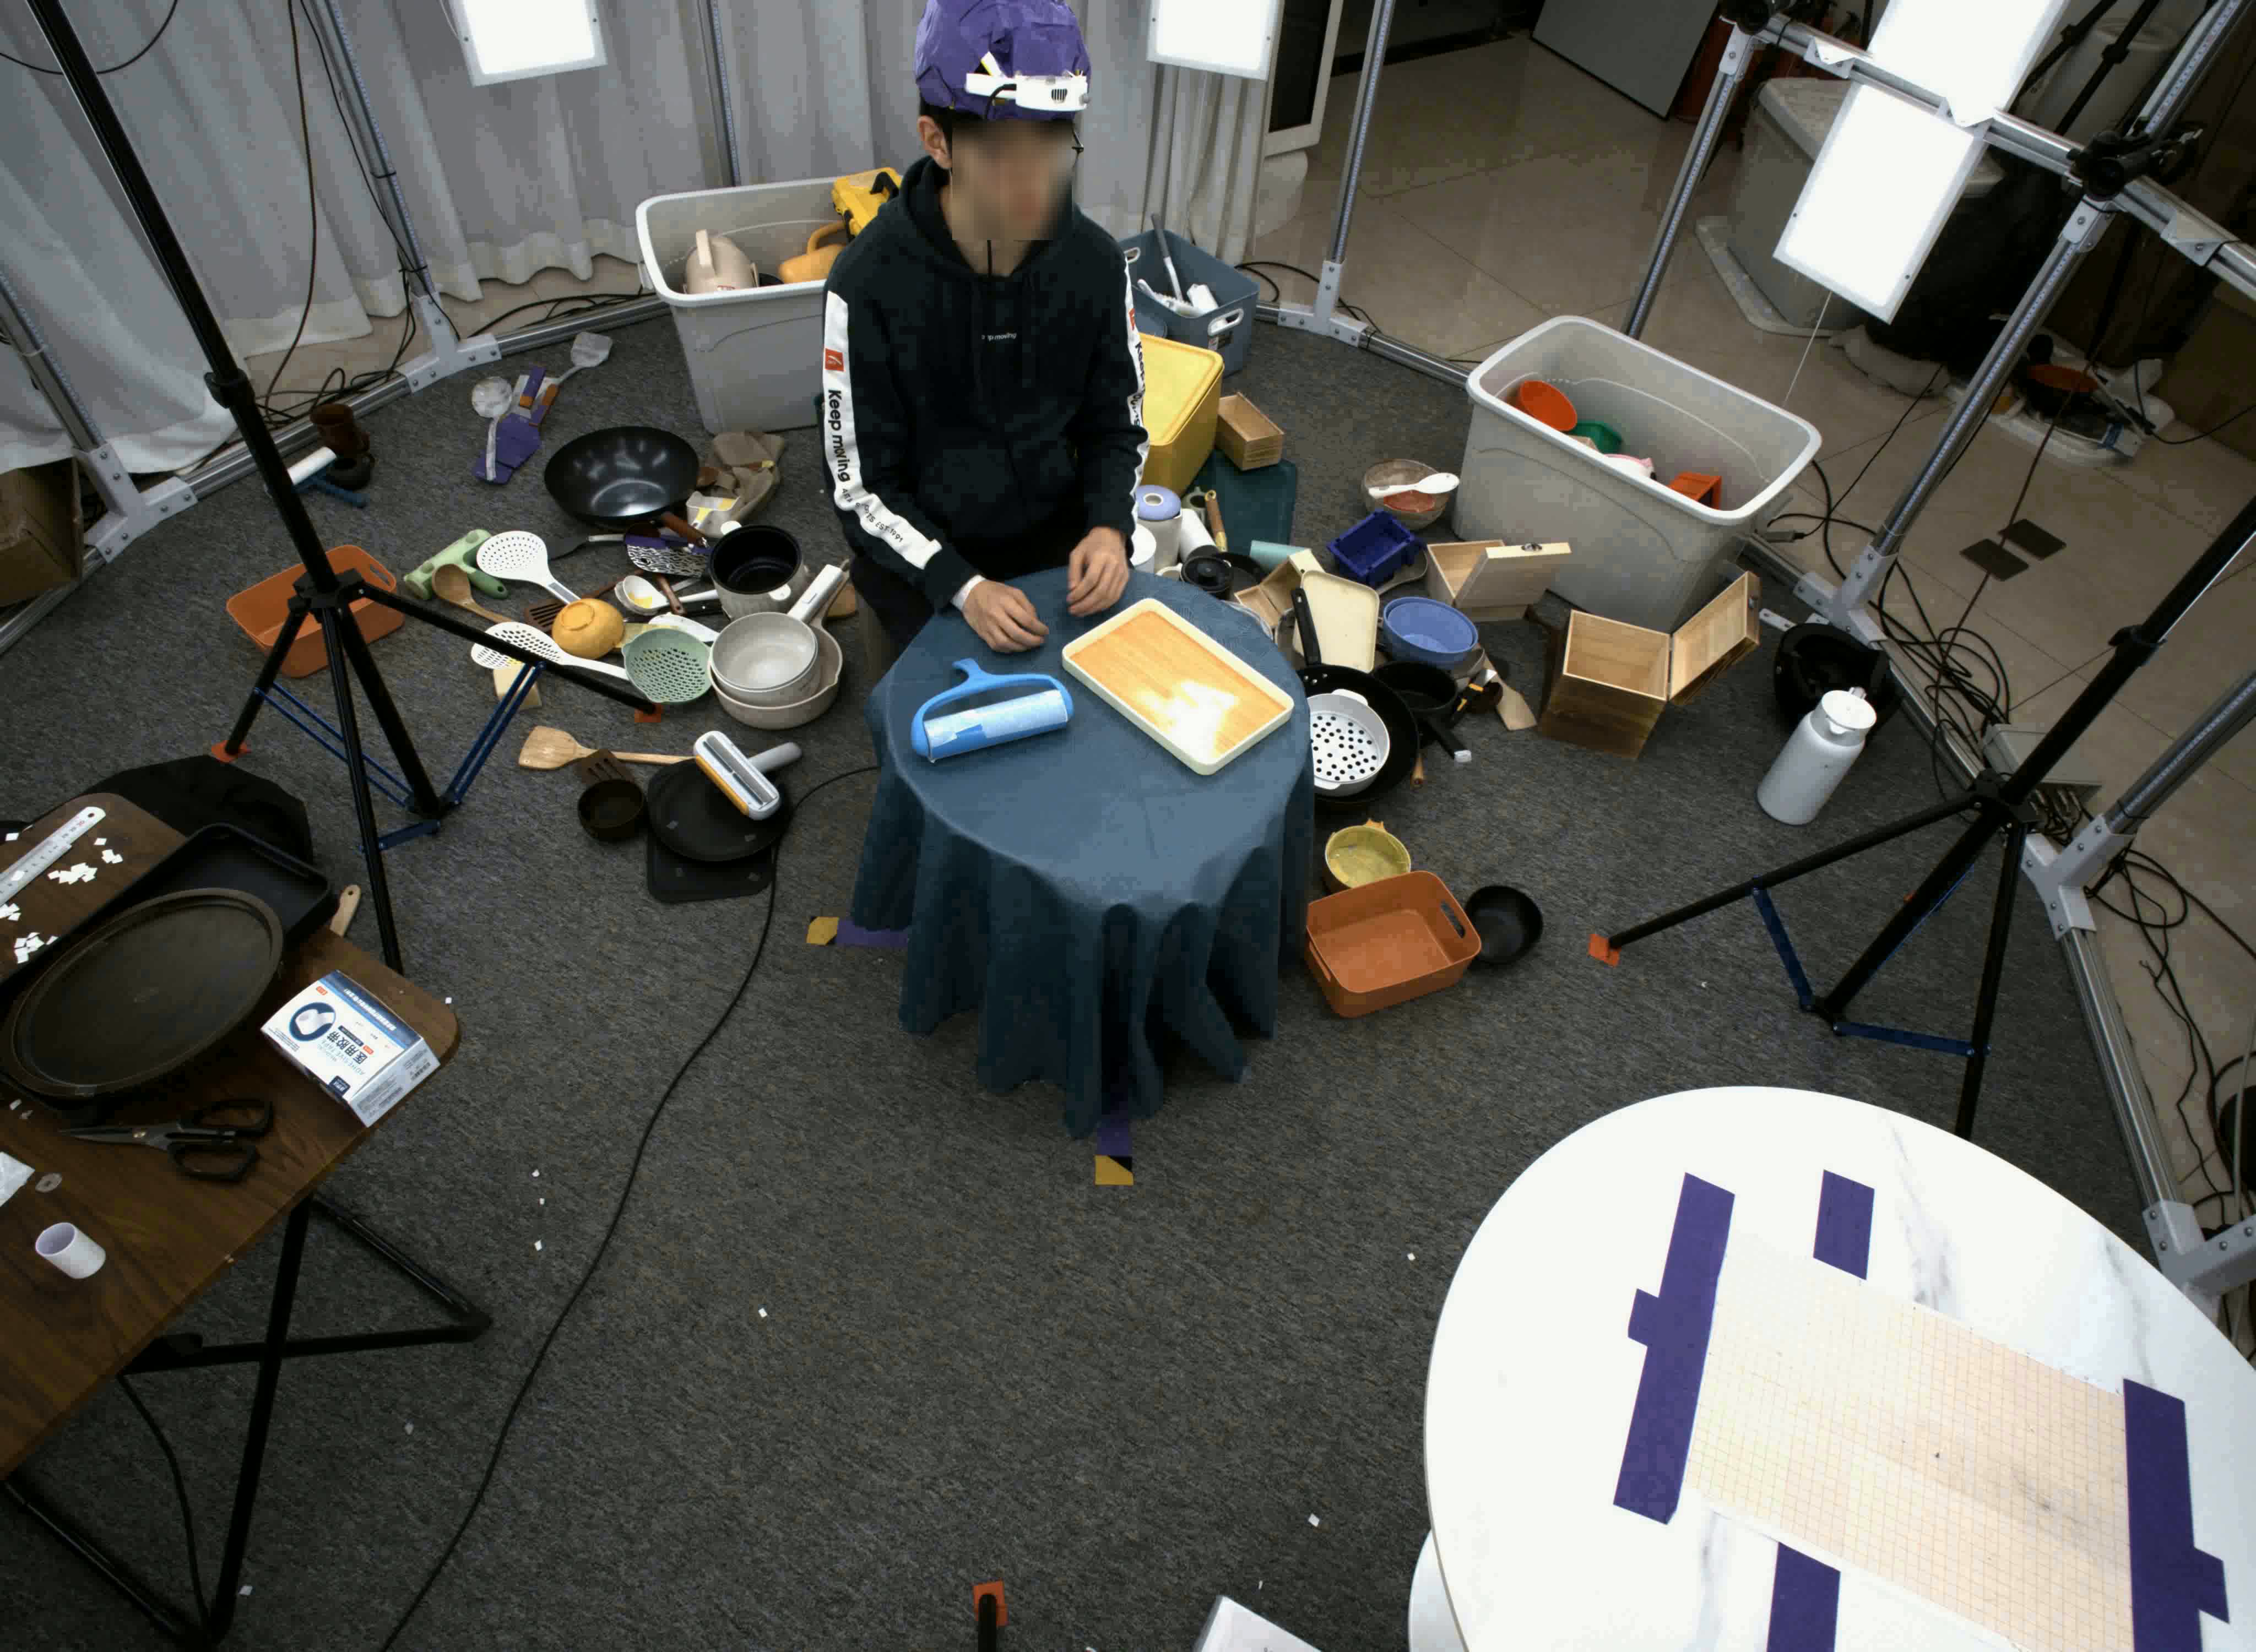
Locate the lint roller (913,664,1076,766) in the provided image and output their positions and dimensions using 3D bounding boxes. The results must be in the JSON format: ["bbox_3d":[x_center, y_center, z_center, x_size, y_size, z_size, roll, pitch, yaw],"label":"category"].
[{"bbox_3d":[-0.204,-0.177,1.774,0.229,0.066,0.184,-20,54,-17],"label":"lint roller"}]

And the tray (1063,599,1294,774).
[{"bbox_3d":[0.070,-0.205,1.833,0.193,0.027,0.305,-34,59,-28],"label":"tray"}]
